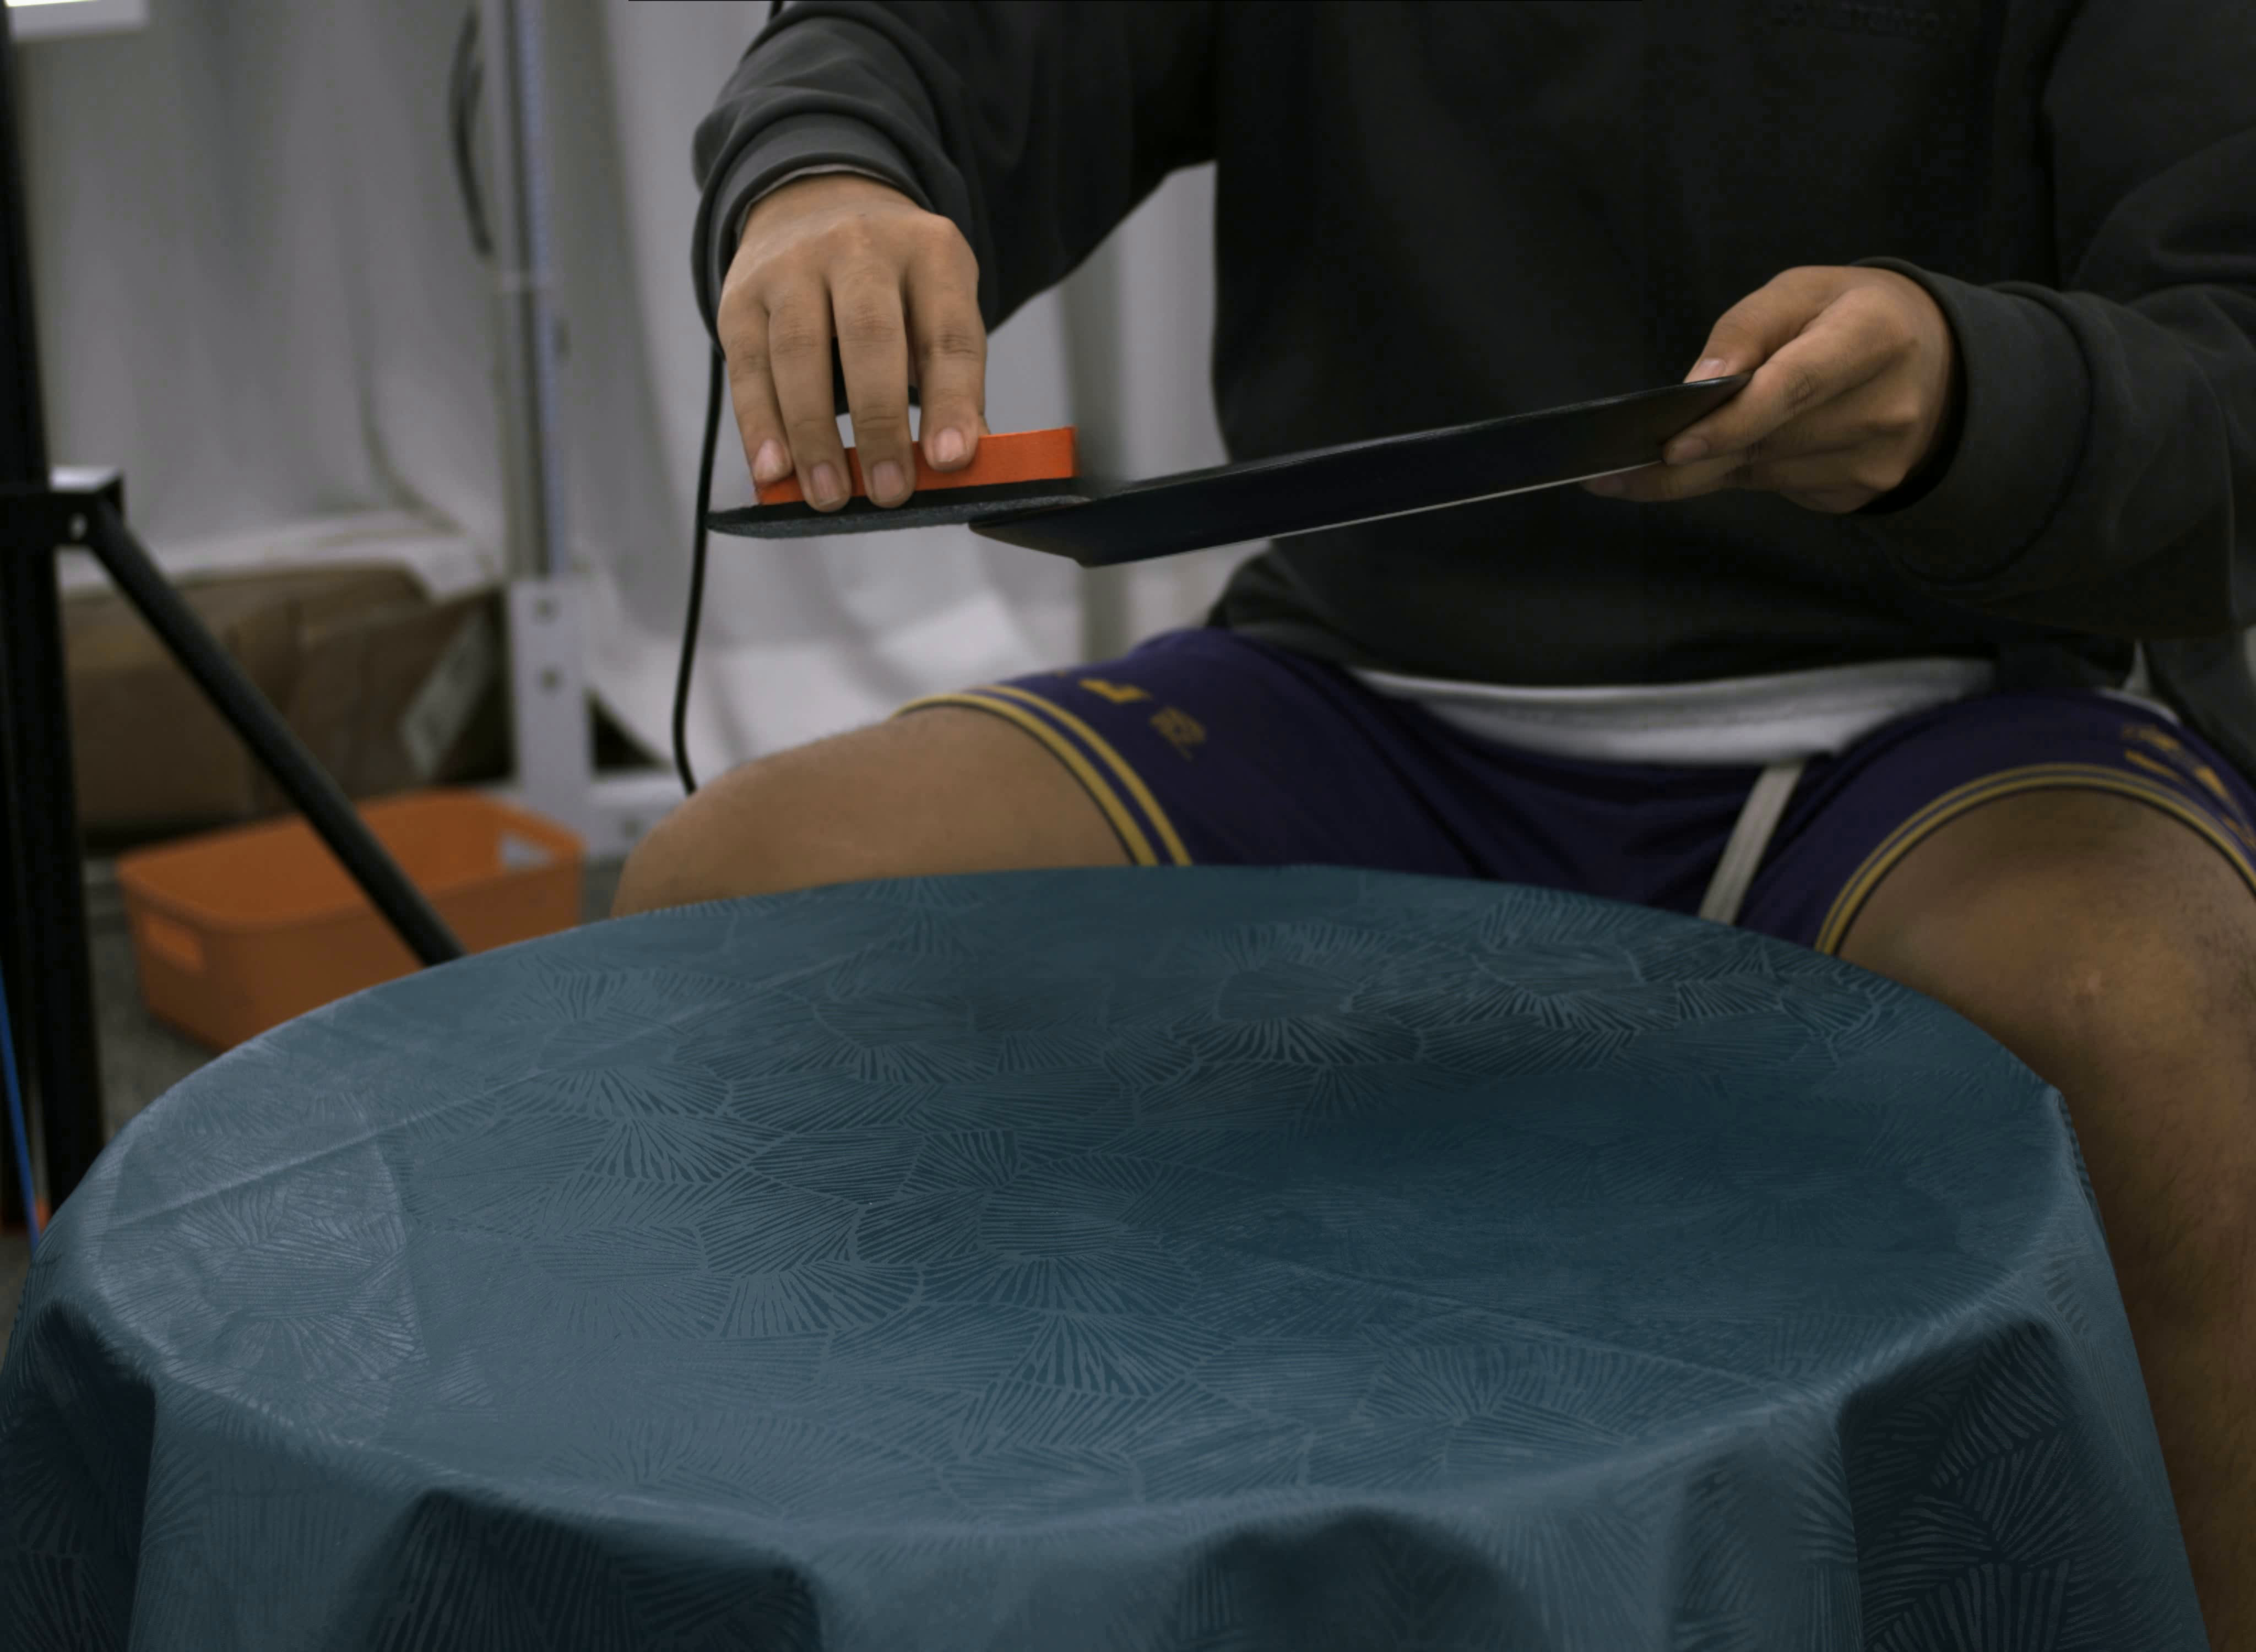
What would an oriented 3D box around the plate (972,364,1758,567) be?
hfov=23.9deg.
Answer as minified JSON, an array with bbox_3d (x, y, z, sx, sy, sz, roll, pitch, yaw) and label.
[{"bbox_3d":[0.073,-0.106,1.620,0.243,0.023,0.245,-11,3,-1],"label":"plate"}]

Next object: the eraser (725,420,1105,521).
[{"bbox_3d":[-0.063,-0.106,1.602,0.109,0.023,0.058,-3,1,15],"label":"eraser"}]
